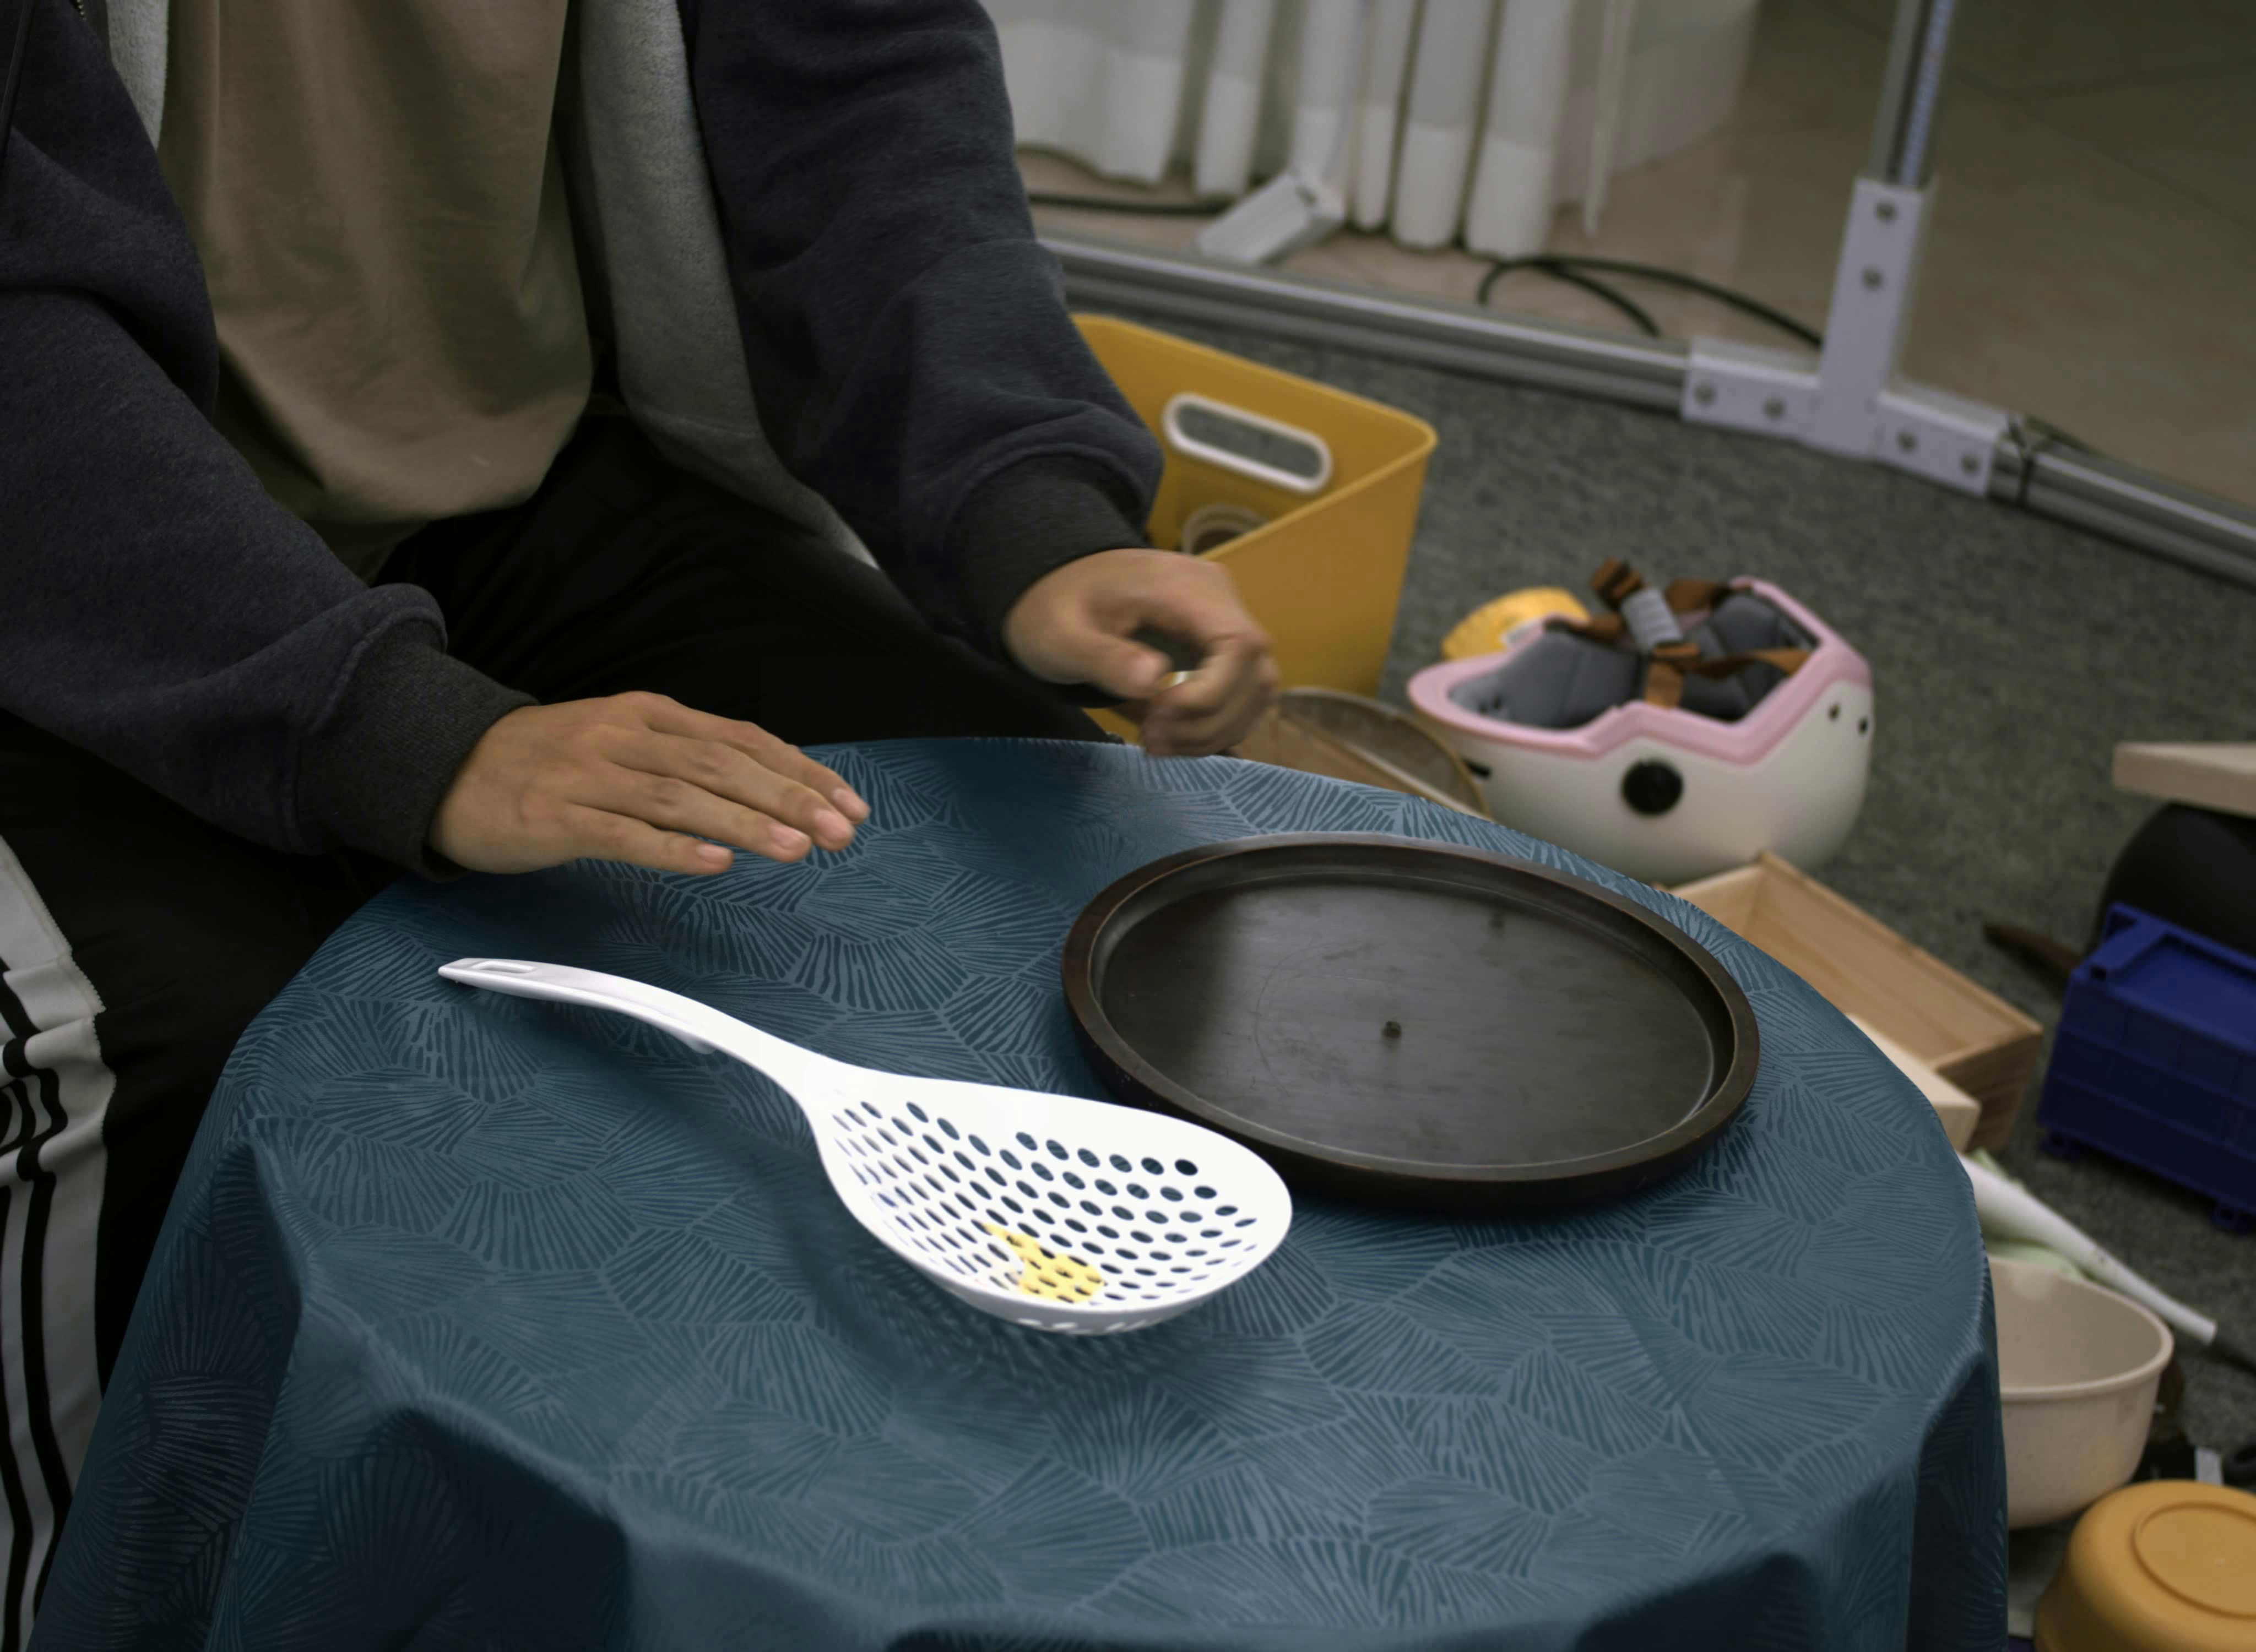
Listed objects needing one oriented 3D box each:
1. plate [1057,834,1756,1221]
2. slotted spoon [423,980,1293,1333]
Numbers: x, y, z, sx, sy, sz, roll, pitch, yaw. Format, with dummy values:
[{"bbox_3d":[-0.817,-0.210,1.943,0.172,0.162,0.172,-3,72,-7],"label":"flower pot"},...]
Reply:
[{"bbox_3d":[0.099,0.070,1.903,0.254,0.029,0.256,4,28,-3],"label":"plate"},{"bbox_3d":[-0.103,0.097,1.786,0.350,0.050,0.136,25,34,31],"label":"slotted spoon"}]
